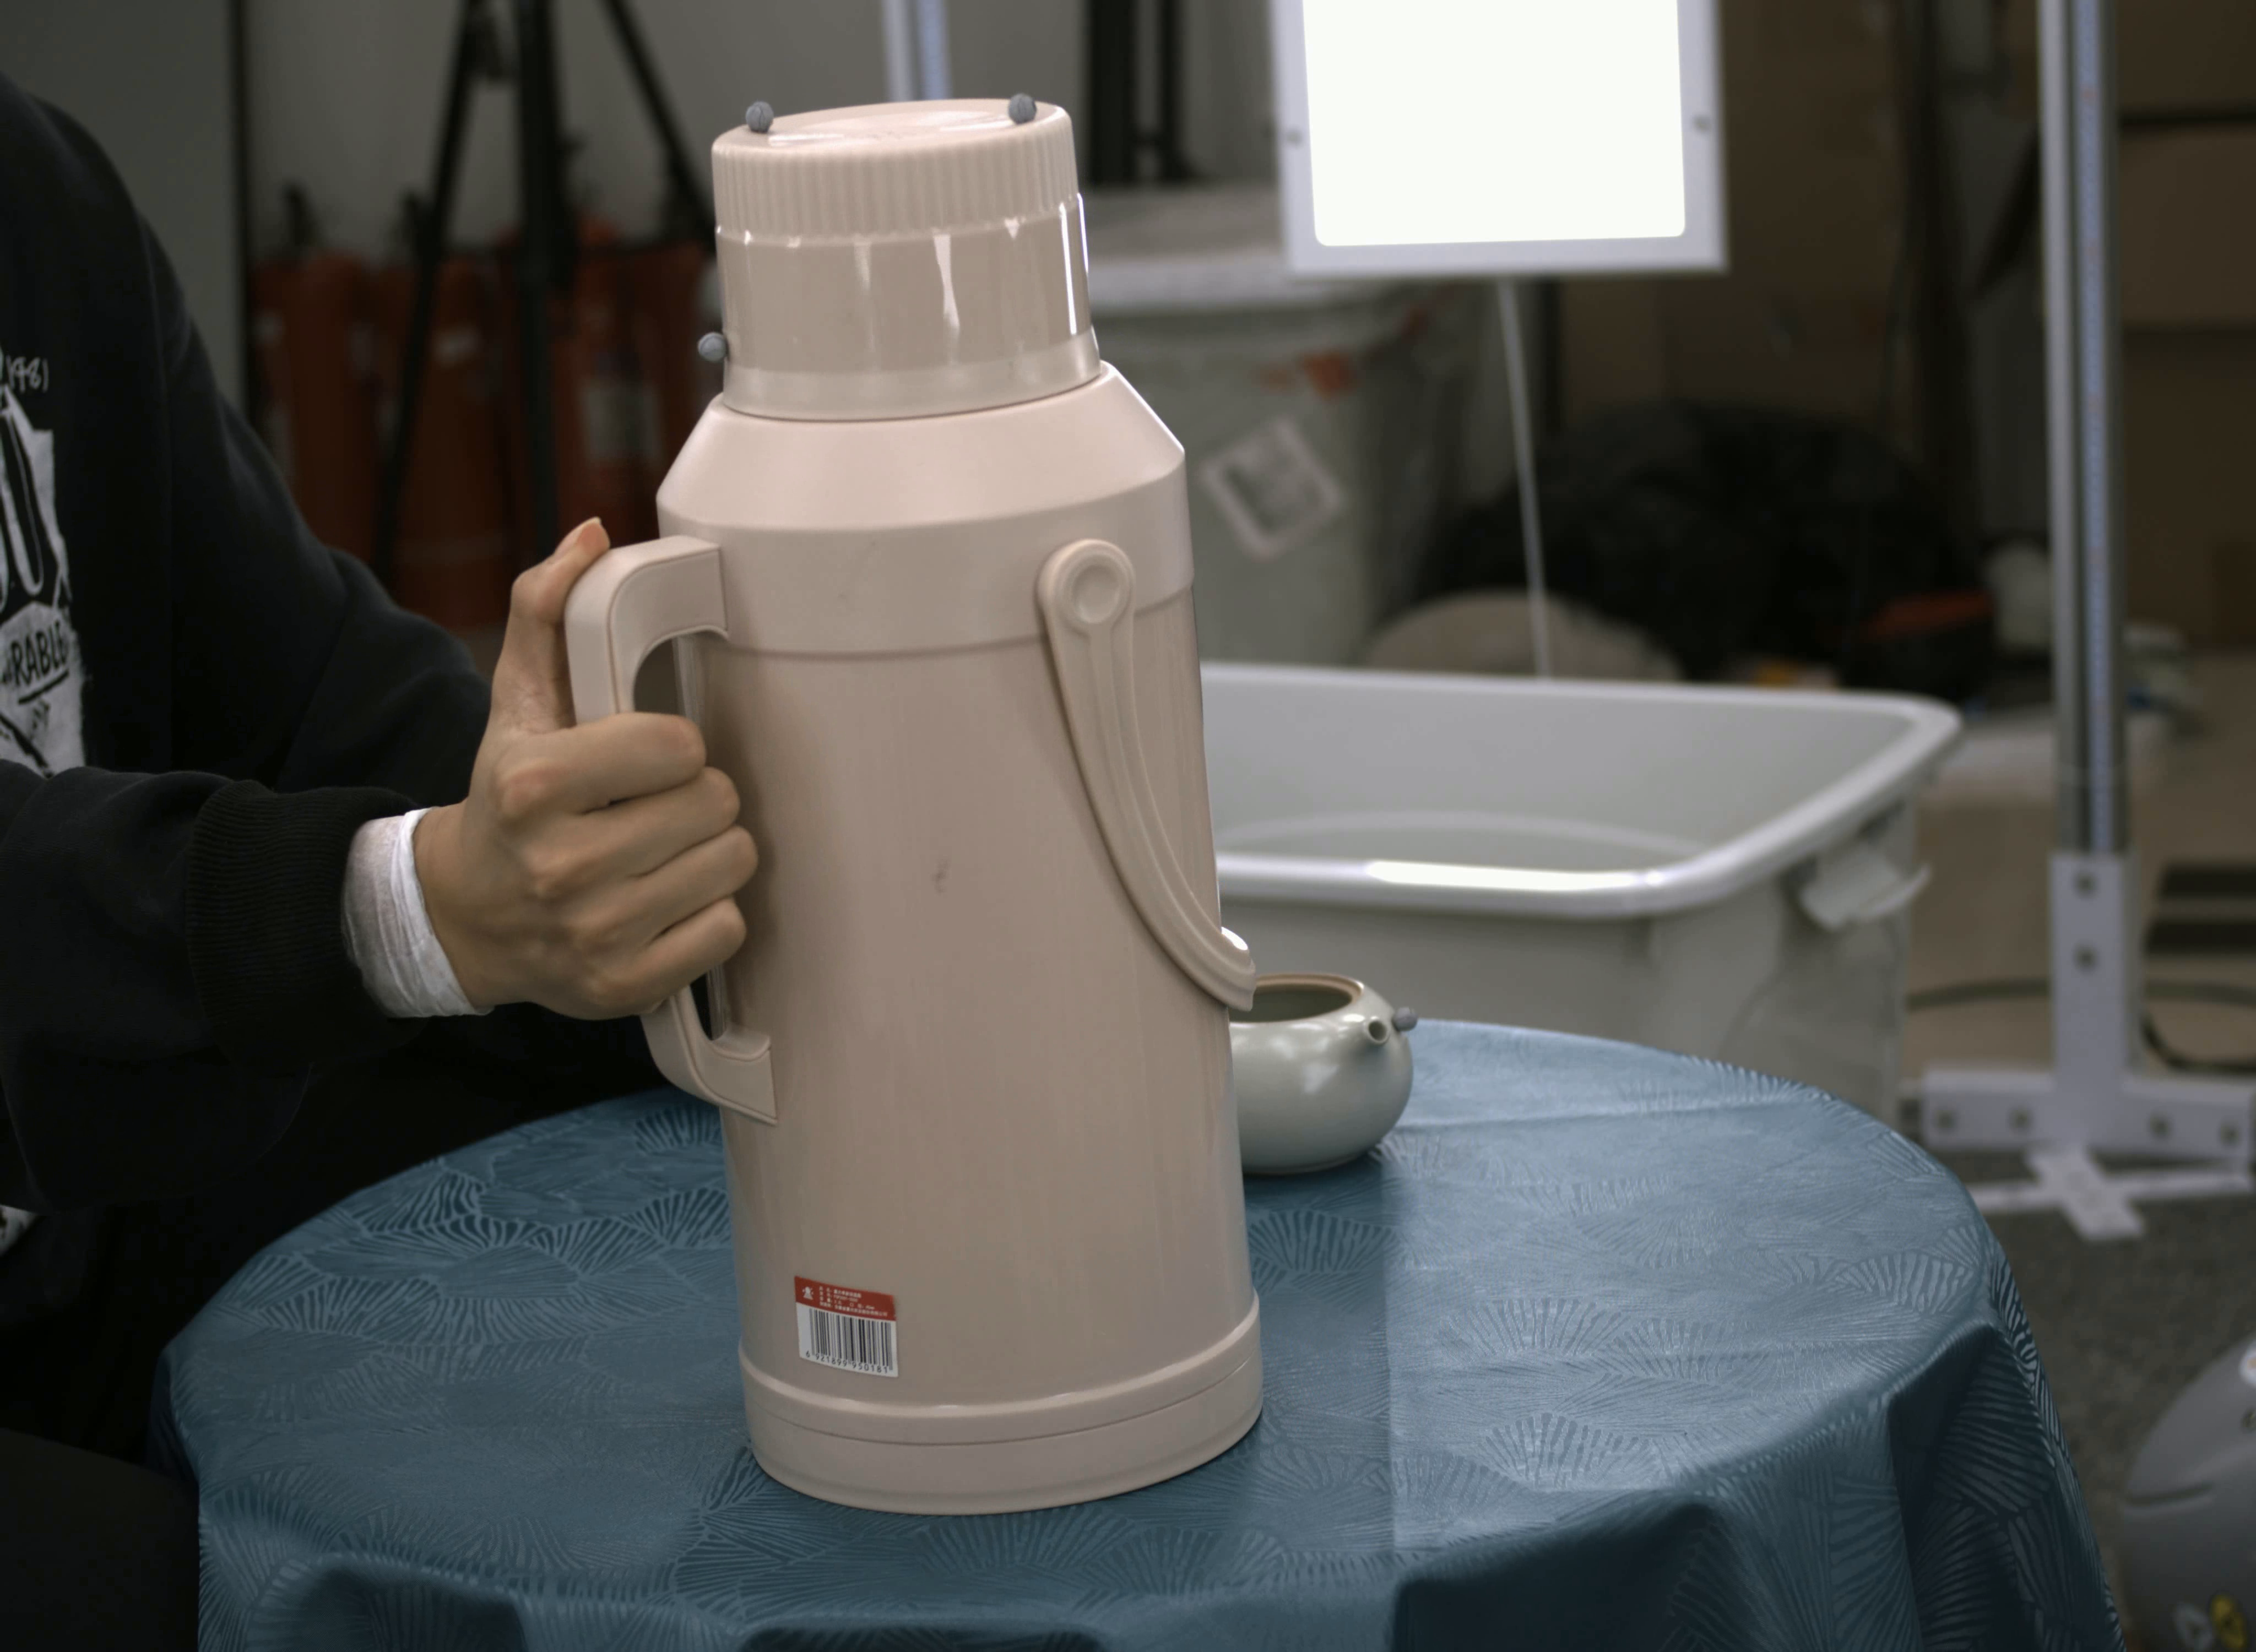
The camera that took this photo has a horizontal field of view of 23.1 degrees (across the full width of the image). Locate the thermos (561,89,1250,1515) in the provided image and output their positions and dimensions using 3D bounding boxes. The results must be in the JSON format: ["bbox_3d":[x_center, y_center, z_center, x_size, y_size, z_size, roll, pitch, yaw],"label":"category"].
[{"bbox_3d":[-0.067,-0.007,1.632,0.202,0.408,0.179,-14,19,-33],"label":"thermos"}]

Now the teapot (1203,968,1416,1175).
[{"bbox_3d":[0.049,0.084,1.928,0.089,0.060,0.131,-21,21,-37],"label":"teapot"}]
